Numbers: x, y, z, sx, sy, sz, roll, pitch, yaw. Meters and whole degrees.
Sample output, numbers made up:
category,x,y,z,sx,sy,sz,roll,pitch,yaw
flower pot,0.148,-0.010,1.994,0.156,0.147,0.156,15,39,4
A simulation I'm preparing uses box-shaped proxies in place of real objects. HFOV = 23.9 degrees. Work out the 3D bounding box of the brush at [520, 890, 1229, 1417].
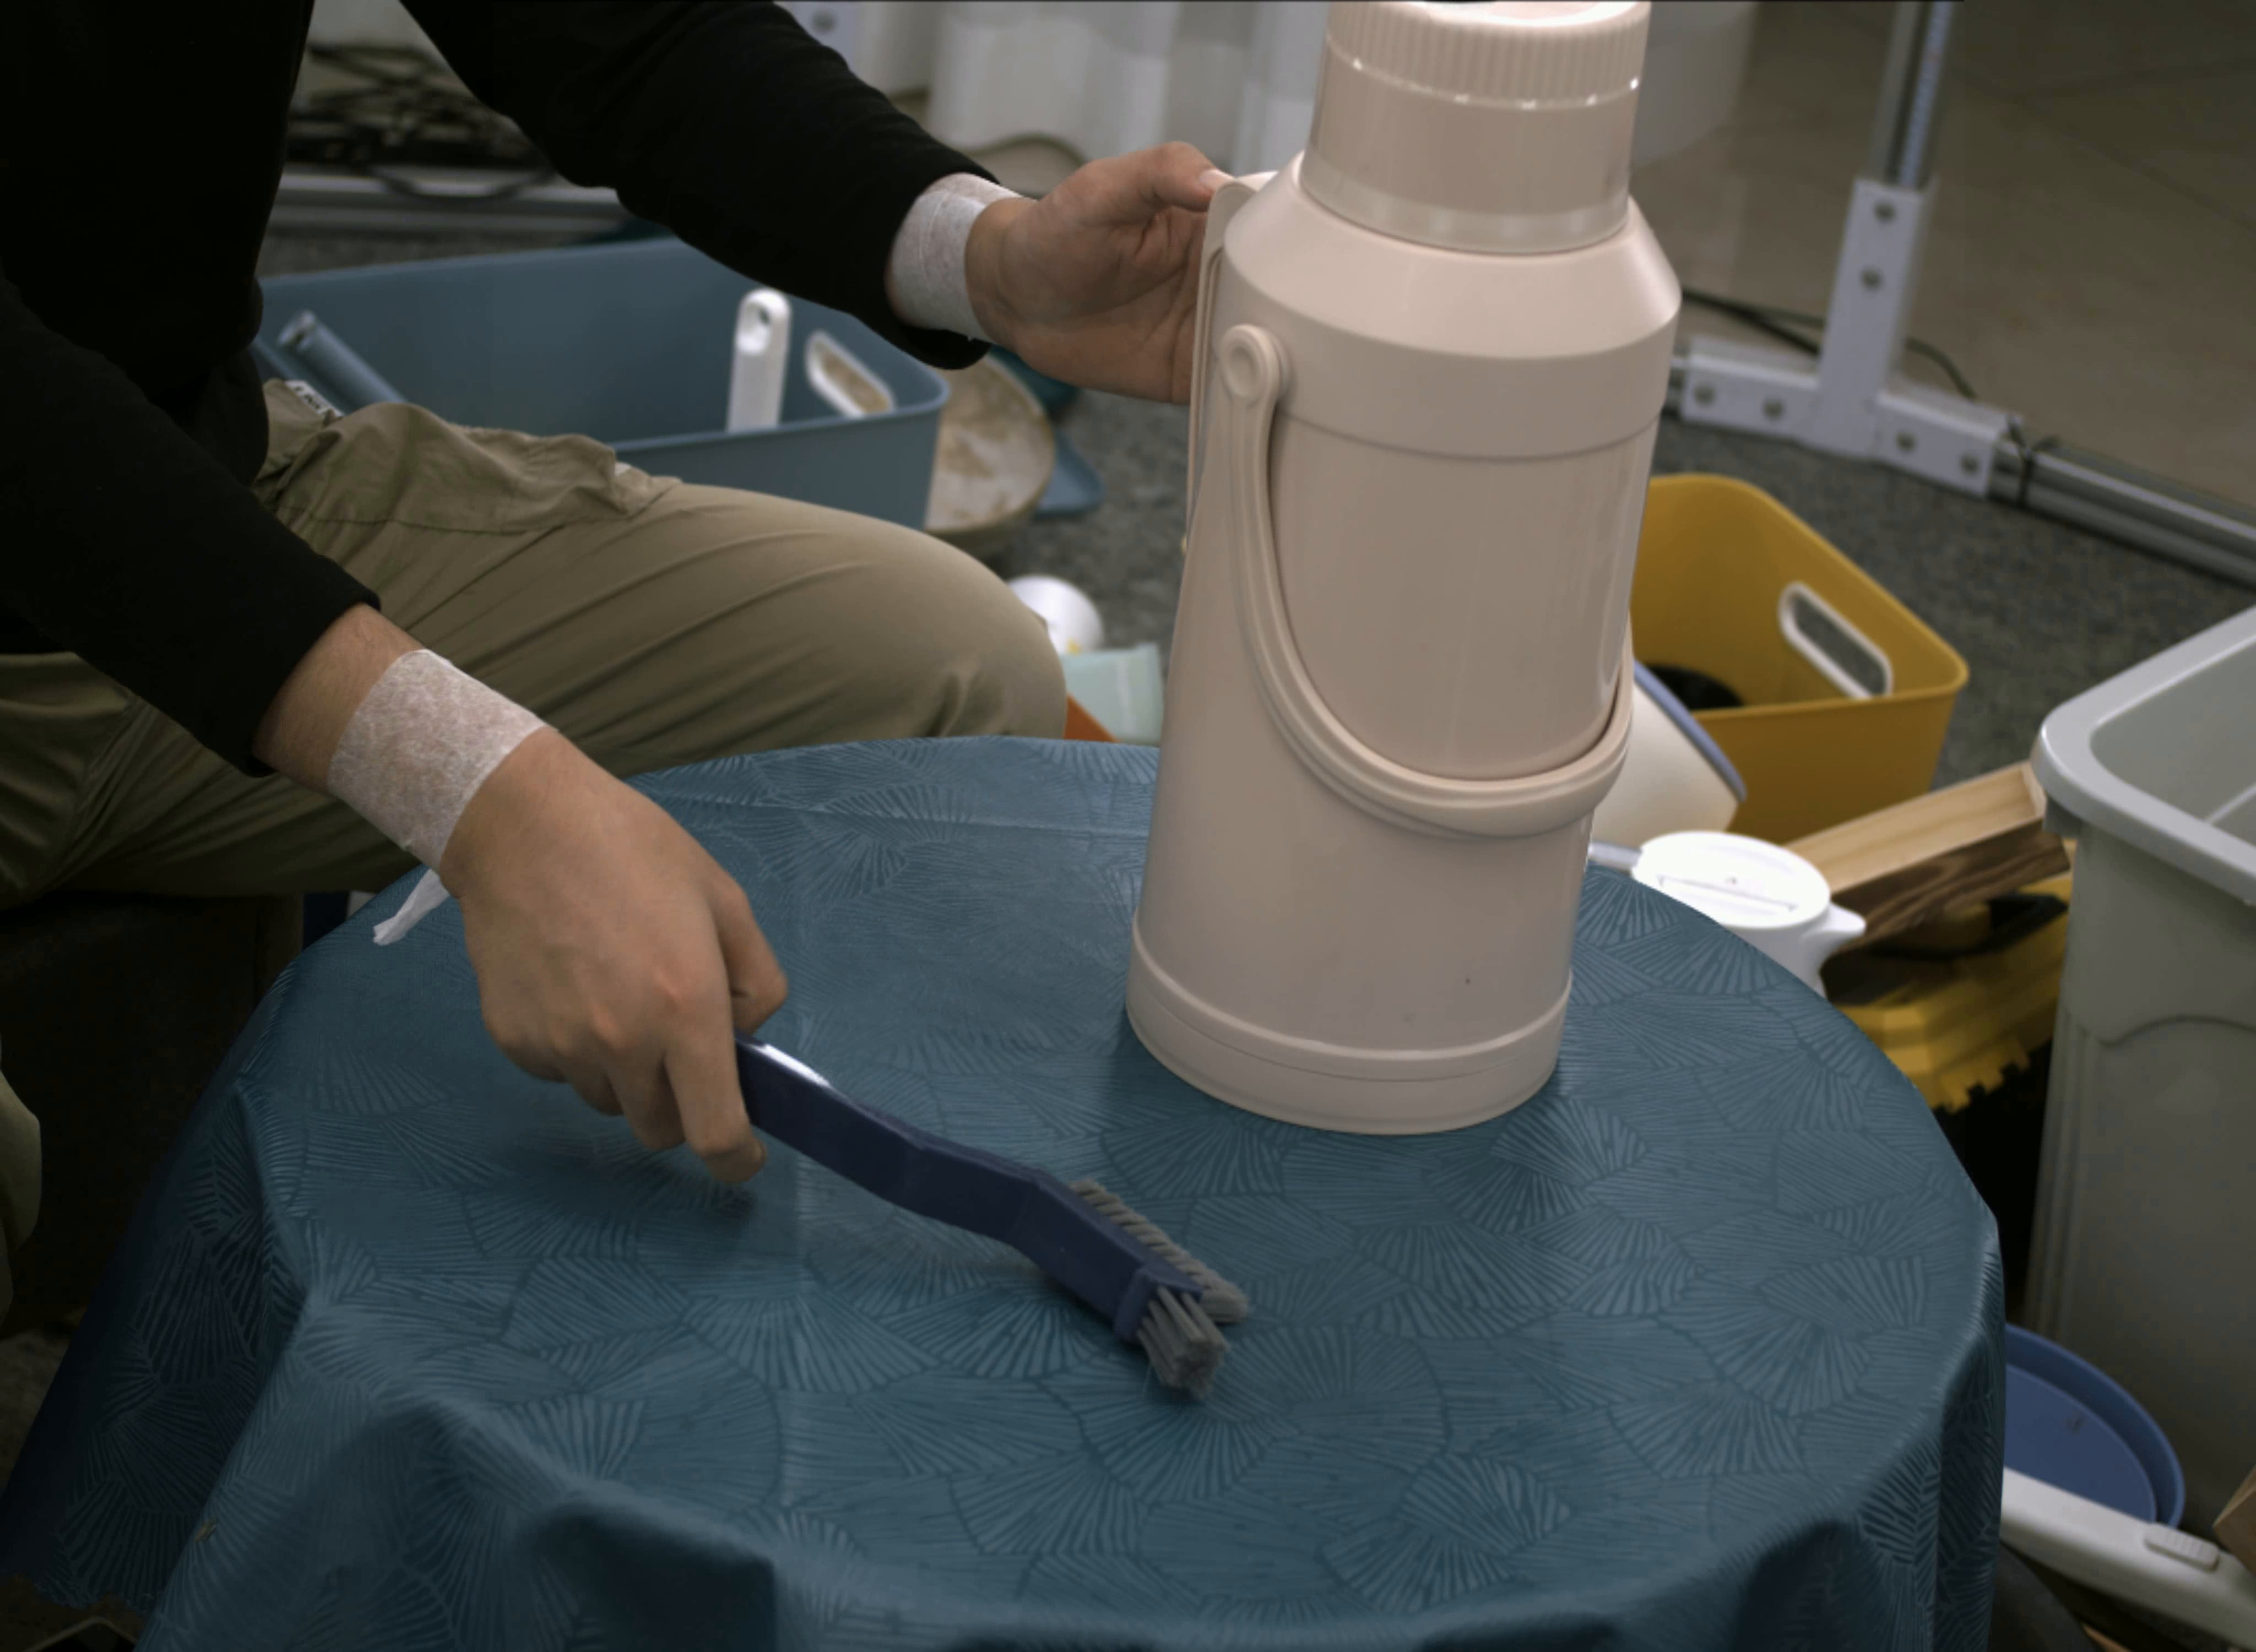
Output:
category,x,y,z,sx,sy,sz,roll,pitch,yaw
brush,-0.089,0.104,1.736,0.273,0.033,0.096,27,22,9

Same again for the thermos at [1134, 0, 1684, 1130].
category,x,y,z,sx,sy,sz,roll,pitch,yaw
thermos,0.092,-0.111,1.846,0.174,0.405,0.209,-15,34,-34
